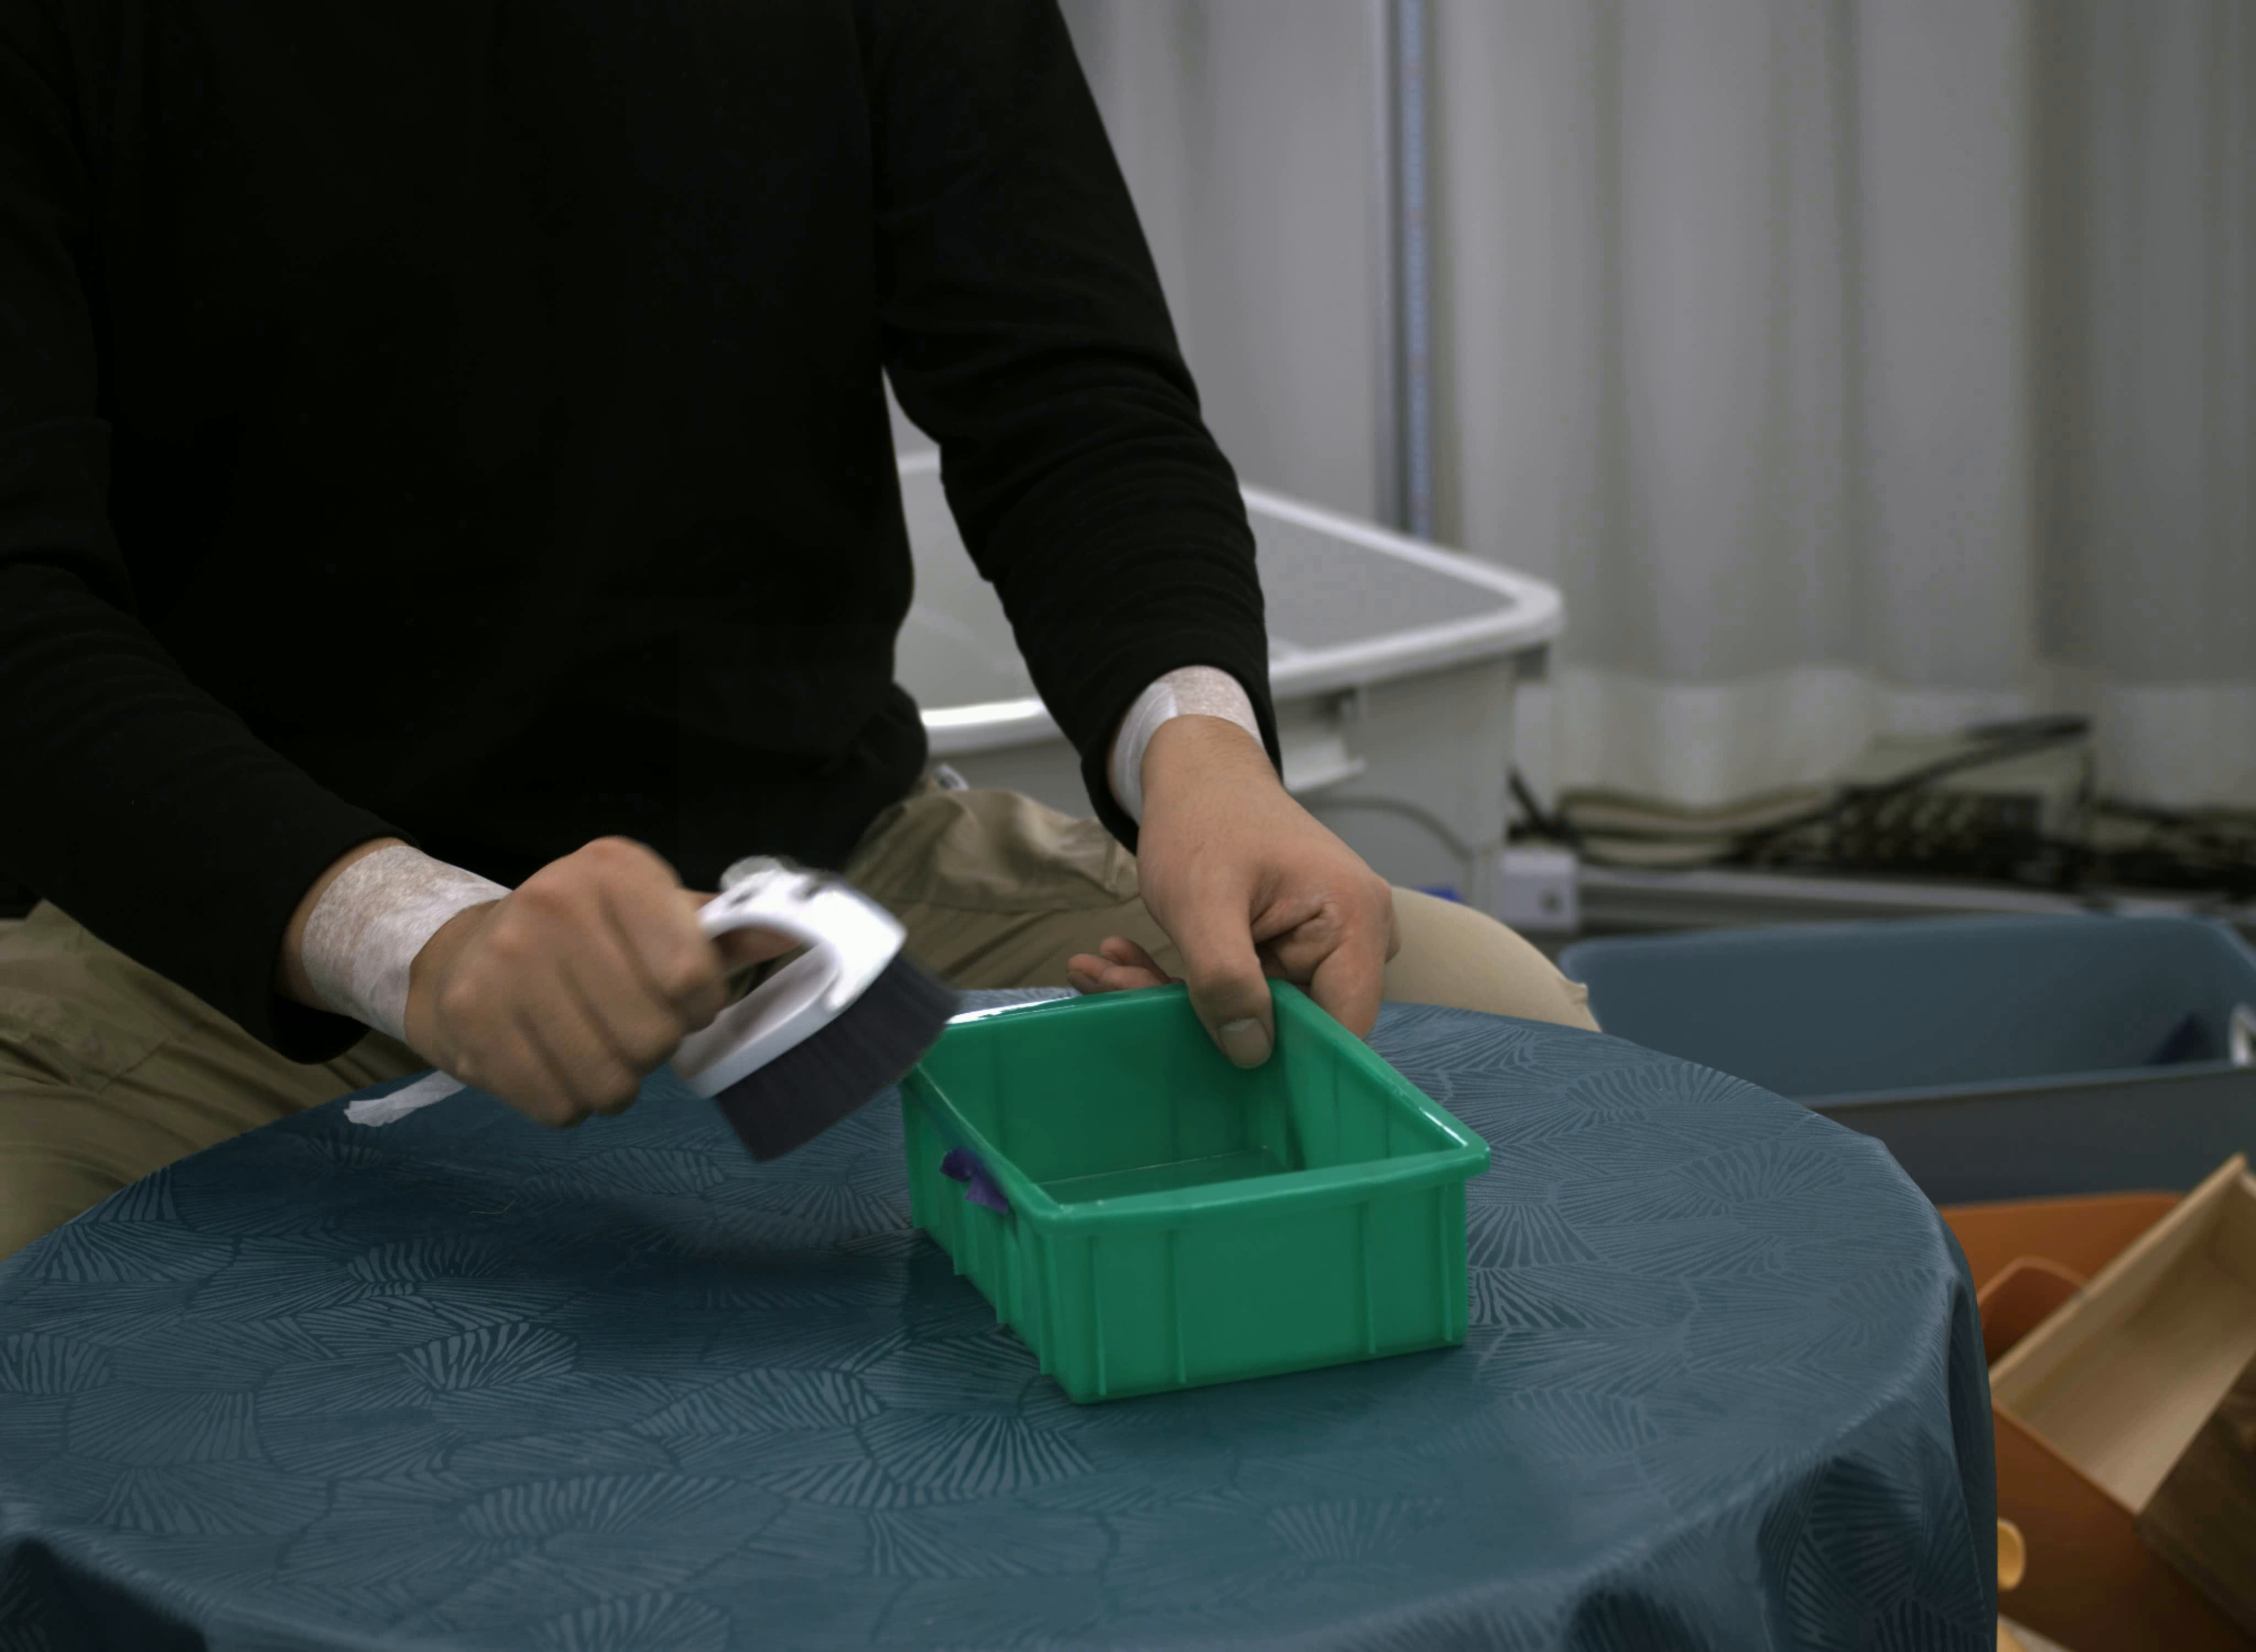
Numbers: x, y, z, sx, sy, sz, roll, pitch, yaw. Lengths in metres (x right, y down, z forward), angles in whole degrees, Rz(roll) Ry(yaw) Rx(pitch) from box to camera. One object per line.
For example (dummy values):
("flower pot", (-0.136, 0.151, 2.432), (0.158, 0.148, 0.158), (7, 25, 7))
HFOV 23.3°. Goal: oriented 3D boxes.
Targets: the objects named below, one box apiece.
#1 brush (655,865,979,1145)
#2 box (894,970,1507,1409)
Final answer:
("brush", (-0.102, 0.048, 1.652), (0.099, 0.072, 0.051), (-32, 19, 43))
("box", (0.016, 0.106, 1.621), (0.138, 0.065, 0.212), (-9, 17, -17))
